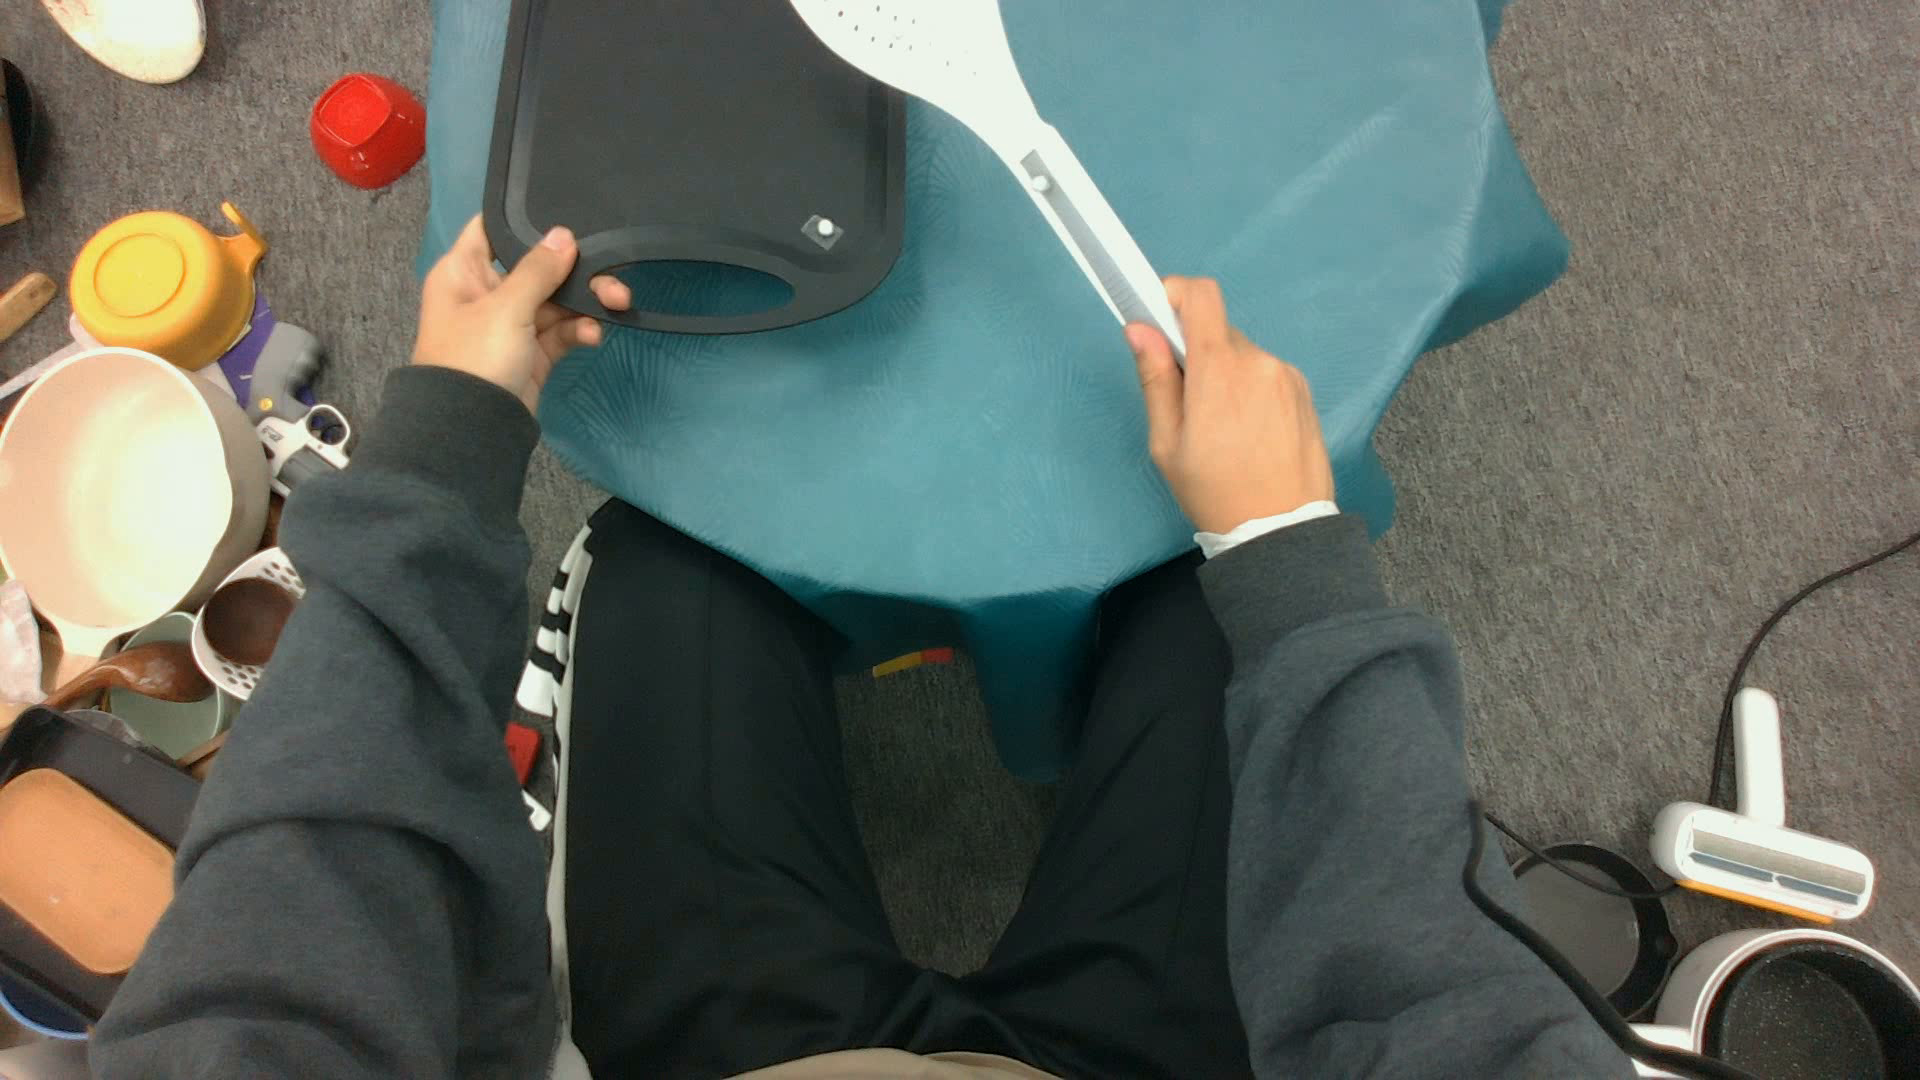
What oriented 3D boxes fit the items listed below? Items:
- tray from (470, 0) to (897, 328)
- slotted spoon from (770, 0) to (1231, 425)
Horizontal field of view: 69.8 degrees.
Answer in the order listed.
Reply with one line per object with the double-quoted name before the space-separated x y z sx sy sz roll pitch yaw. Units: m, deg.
"tray" -0.139 -0.255 0.731 0.211 0.010 0.326 2 68 -6
"slotted spoon" 0.012 -0.194 0.636 0.046 0.135 0.349 -37 94 -28
